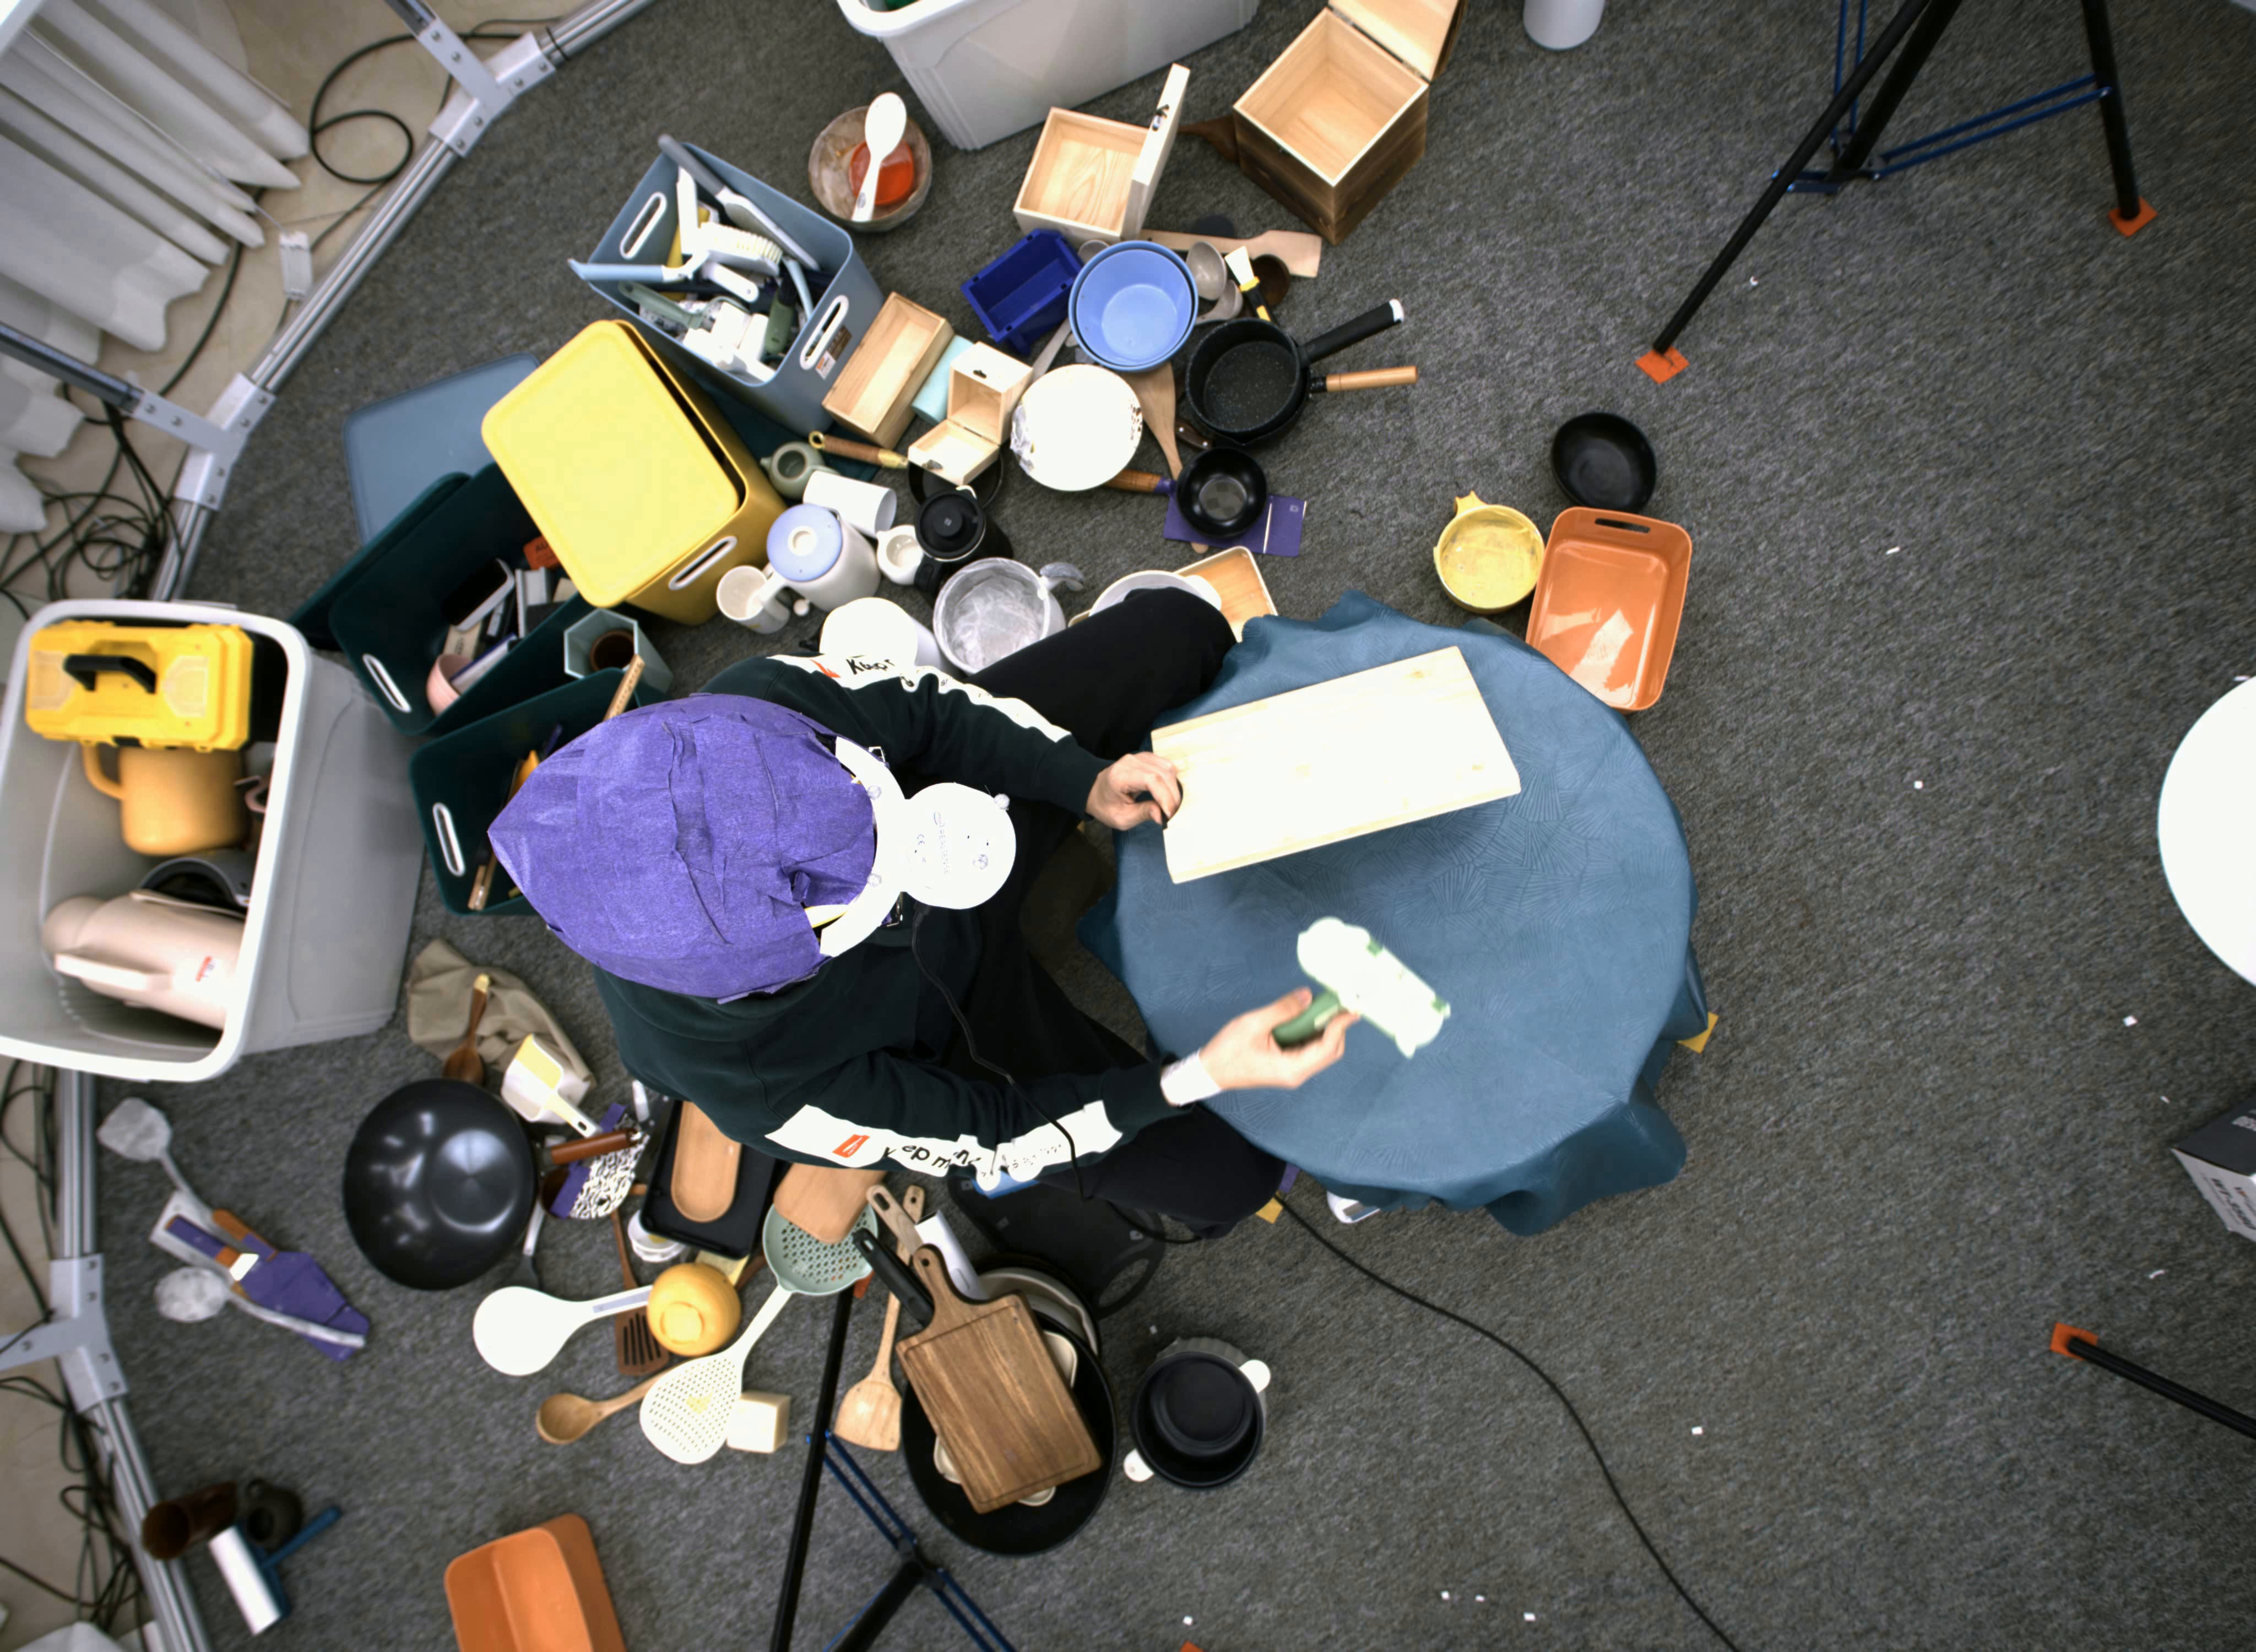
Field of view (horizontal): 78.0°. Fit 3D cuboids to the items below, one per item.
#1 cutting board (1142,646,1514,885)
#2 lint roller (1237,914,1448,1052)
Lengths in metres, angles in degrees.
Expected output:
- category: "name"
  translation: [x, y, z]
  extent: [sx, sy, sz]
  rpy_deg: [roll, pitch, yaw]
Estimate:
- category: "cutting board"
  translation: [0.190, -0.067, 1.388]
  extent: [0.350, 0.244, 0.024]
  rpy_deg: [-16, 129, 8]
- category: "lint roller"
  translation: [0.185, 0.177, 1.286]
  extent: [0.185, 0.200, 0.080]
  rpy_deg: [-38, 47, 15]
